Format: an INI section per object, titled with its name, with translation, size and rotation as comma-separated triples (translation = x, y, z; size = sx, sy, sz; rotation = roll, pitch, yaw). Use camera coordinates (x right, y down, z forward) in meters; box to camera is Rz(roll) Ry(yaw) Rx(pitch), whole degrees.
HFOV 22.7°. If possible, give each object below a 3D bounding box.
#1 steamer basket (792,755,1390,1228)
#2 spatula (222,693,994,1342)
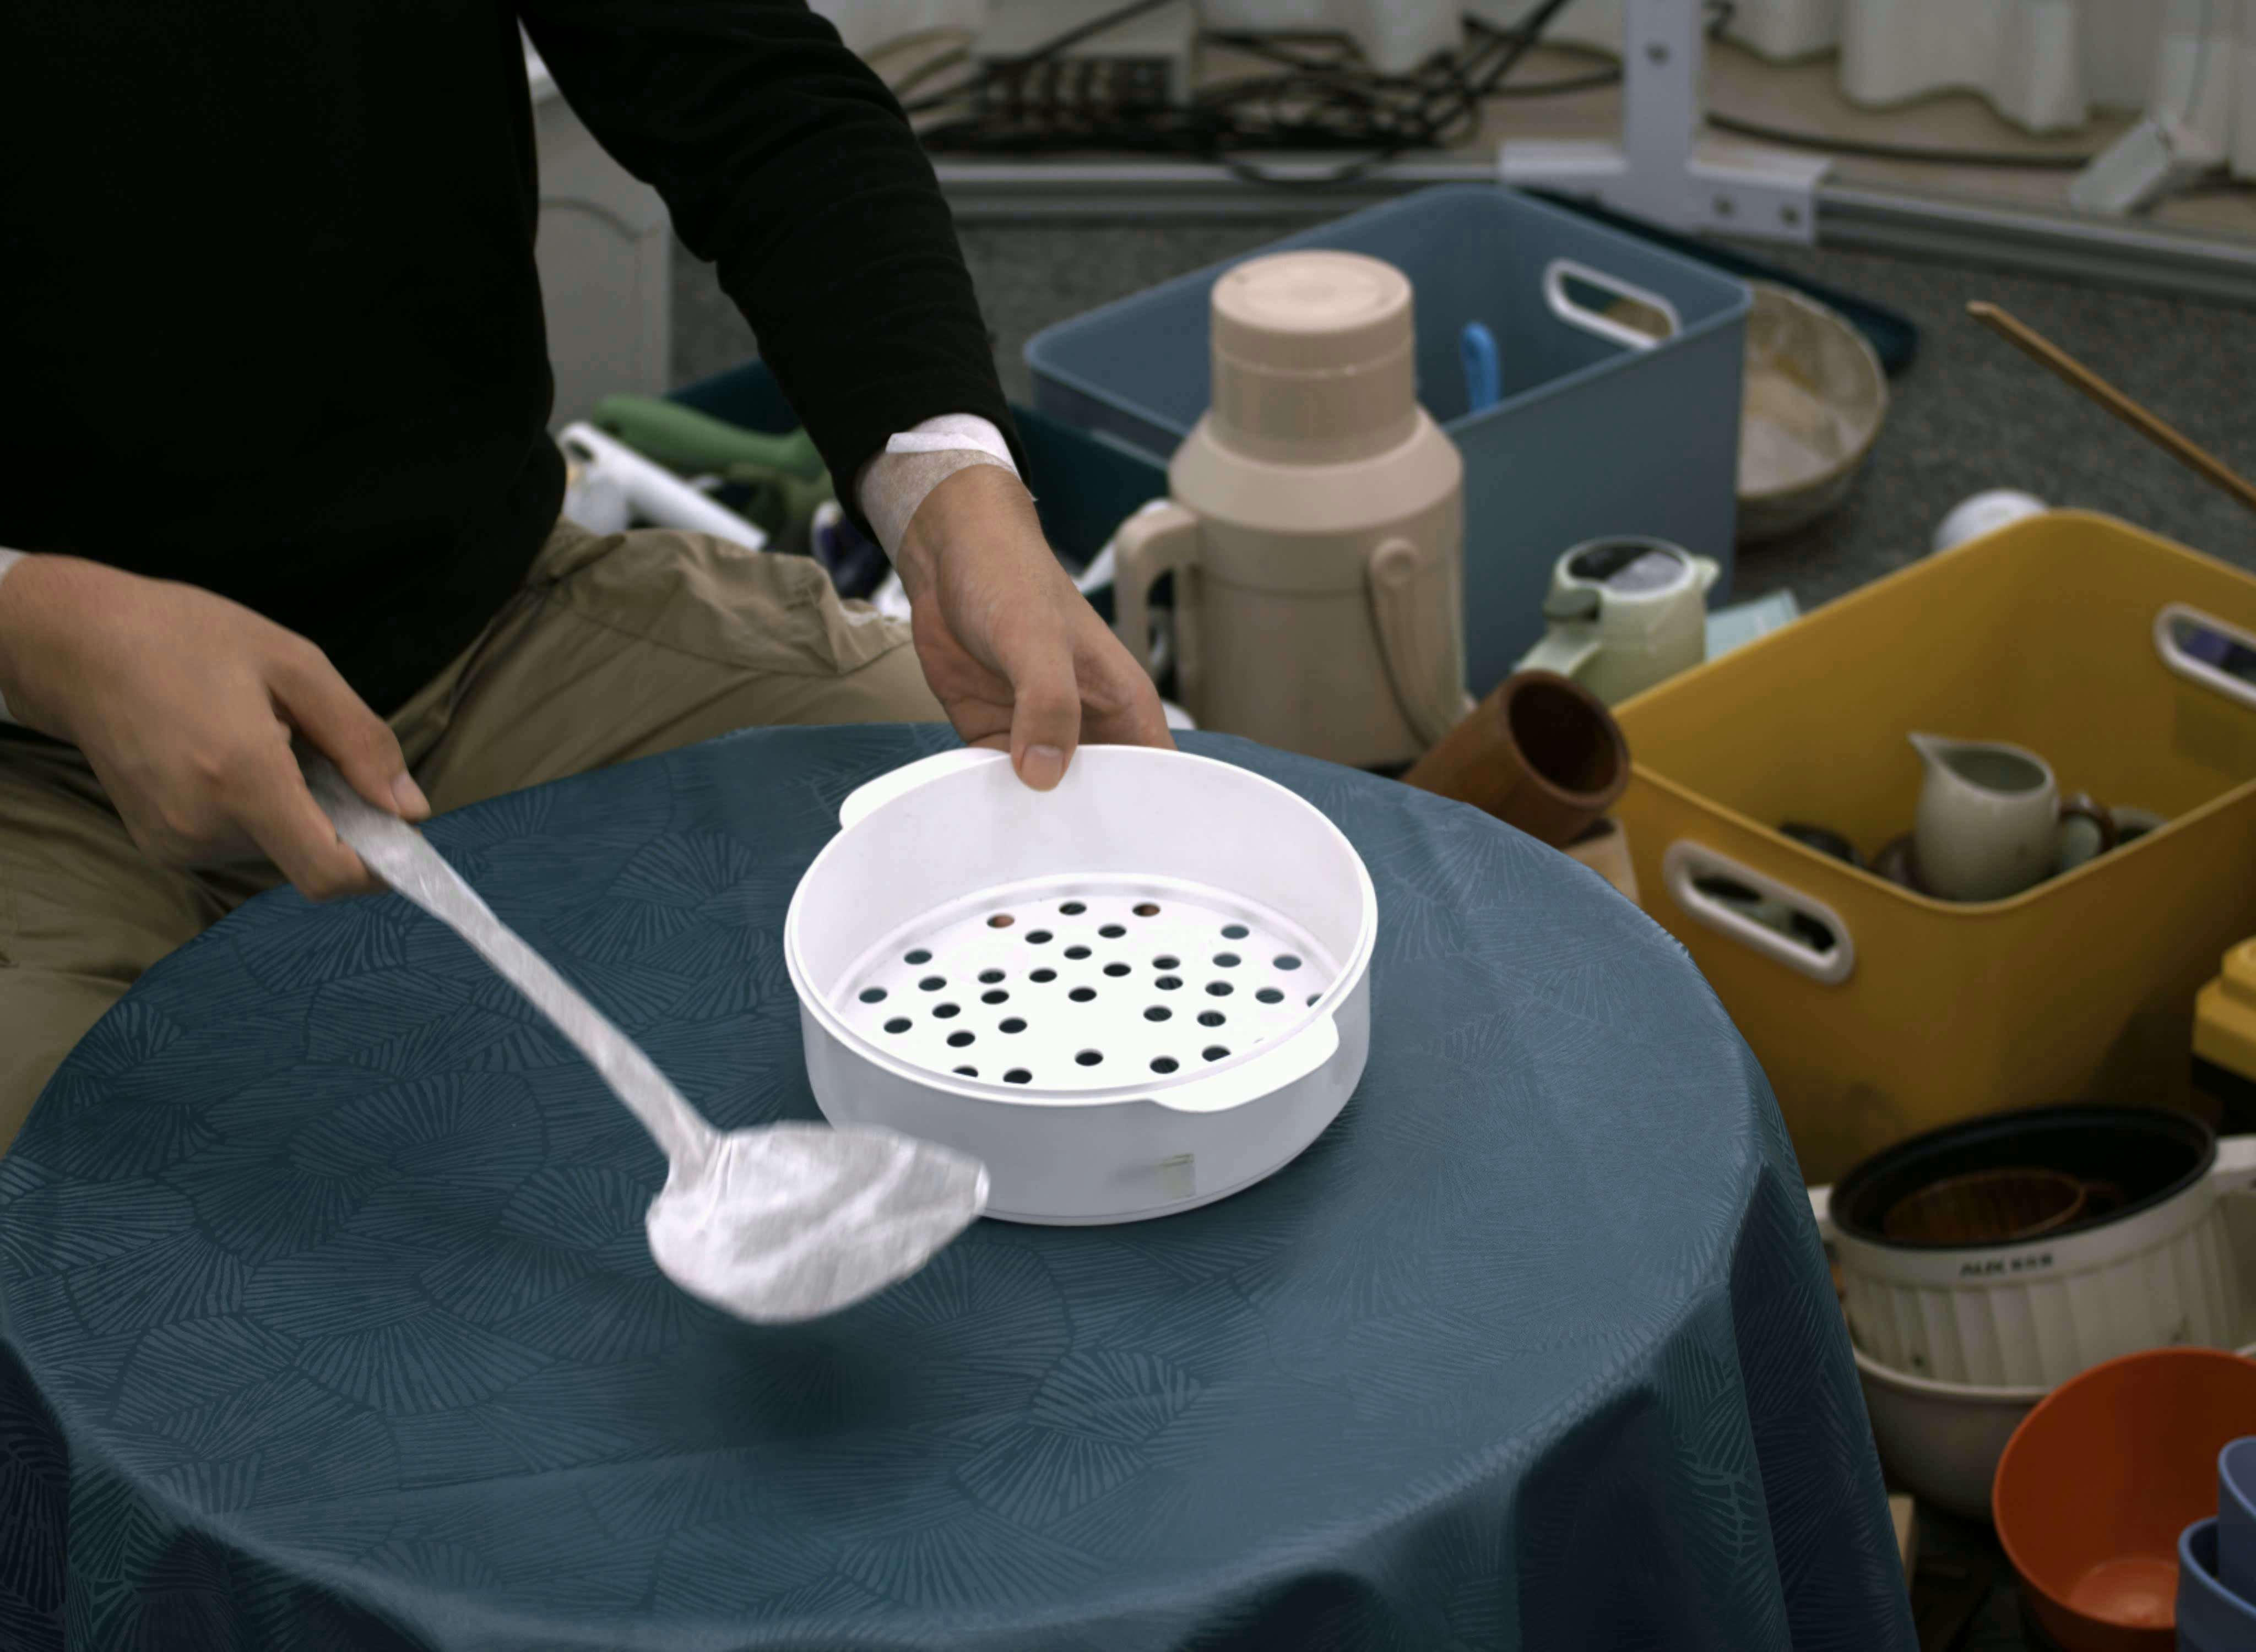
[steamer basket]
translation = -0.011, 0.056, 1.898
size = 0.203, 0.068, 0.232
rotation = -21, 38, -27
[spatula]
translation = -0.189, 0.050, 1.812
size = 0.100, 0.044, 0.366
rotation = -30, 56, -31
